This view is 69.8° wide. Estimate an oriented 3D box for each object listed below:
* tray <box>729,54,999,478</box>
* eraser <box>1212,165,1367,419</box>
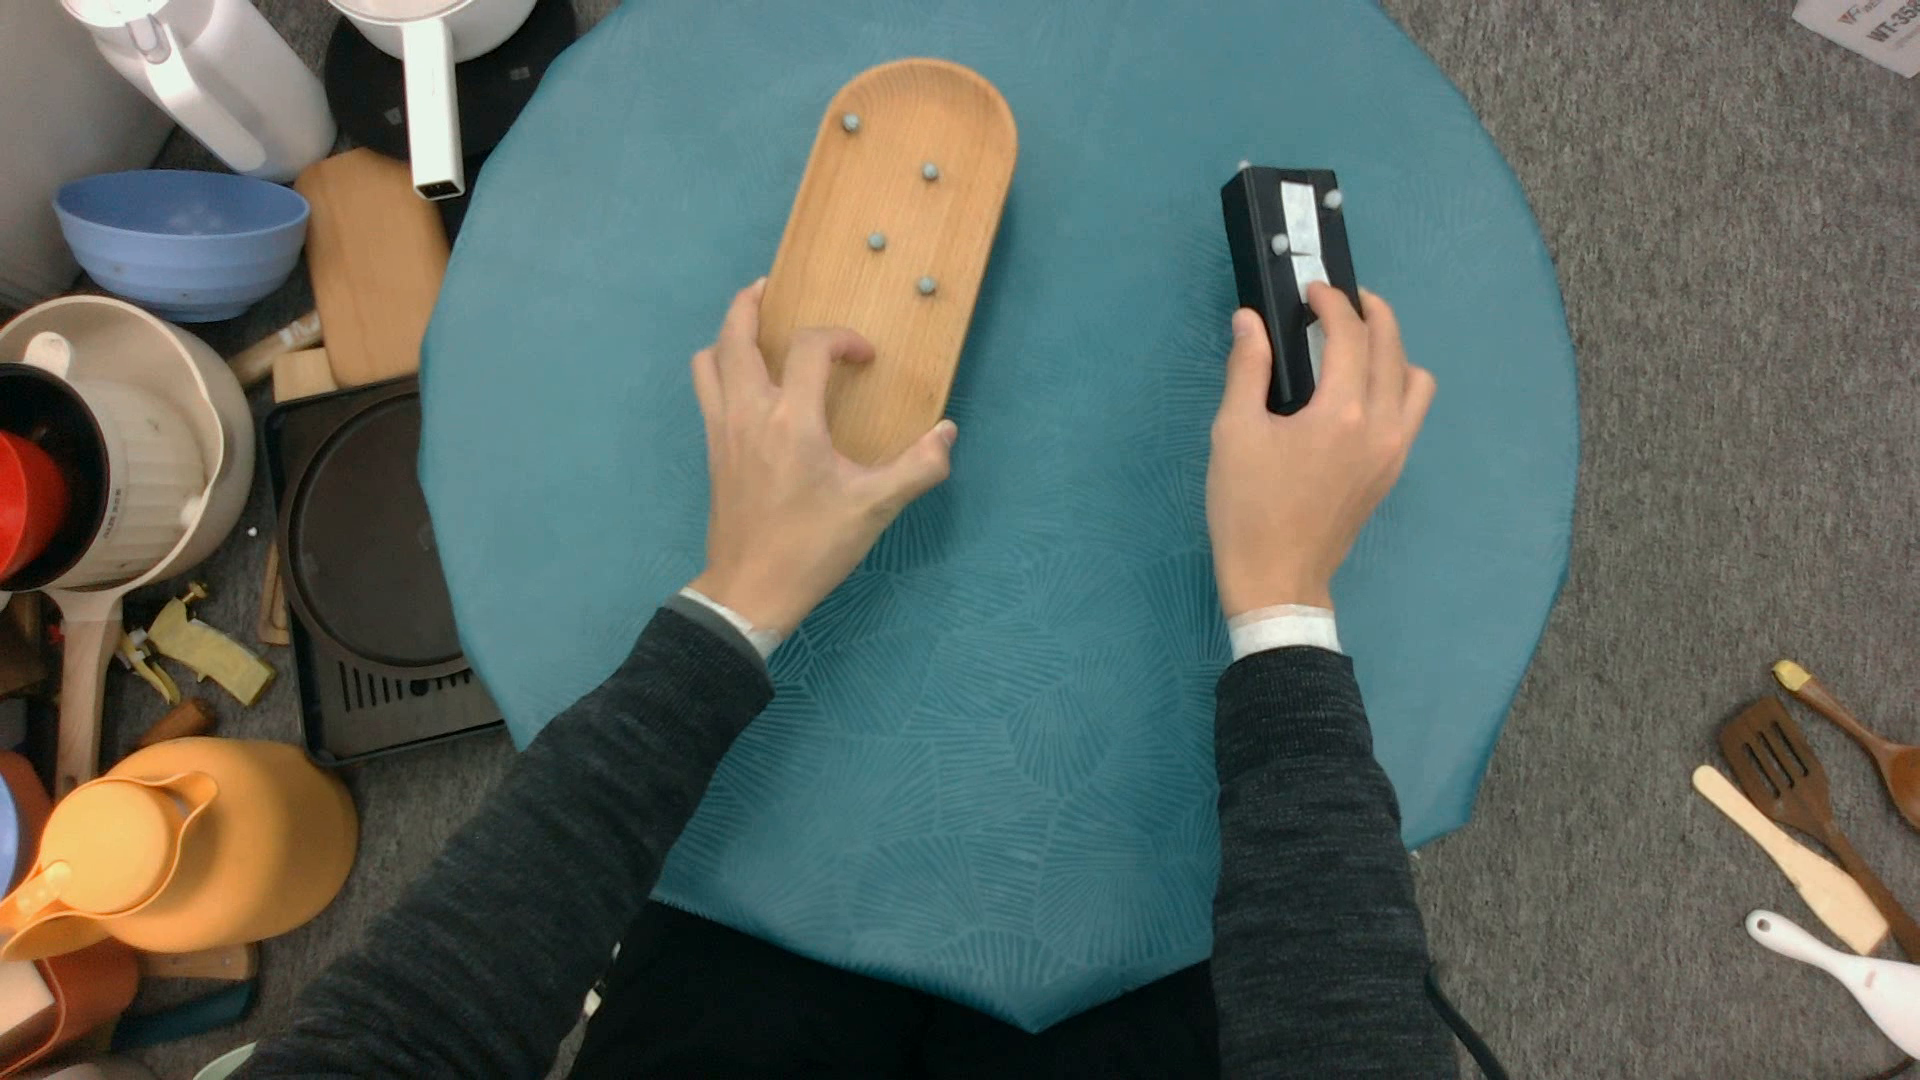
[{"bbox_3d":[-0.045,-0.139,0.683,0.101,0.020,0.232,12,75,4],"label":"tray"},{"bbox_3d":[0.159,-0.121,0.669,0.053,0.030,0.126,-3,75,-13],"label":"eraser"}]
